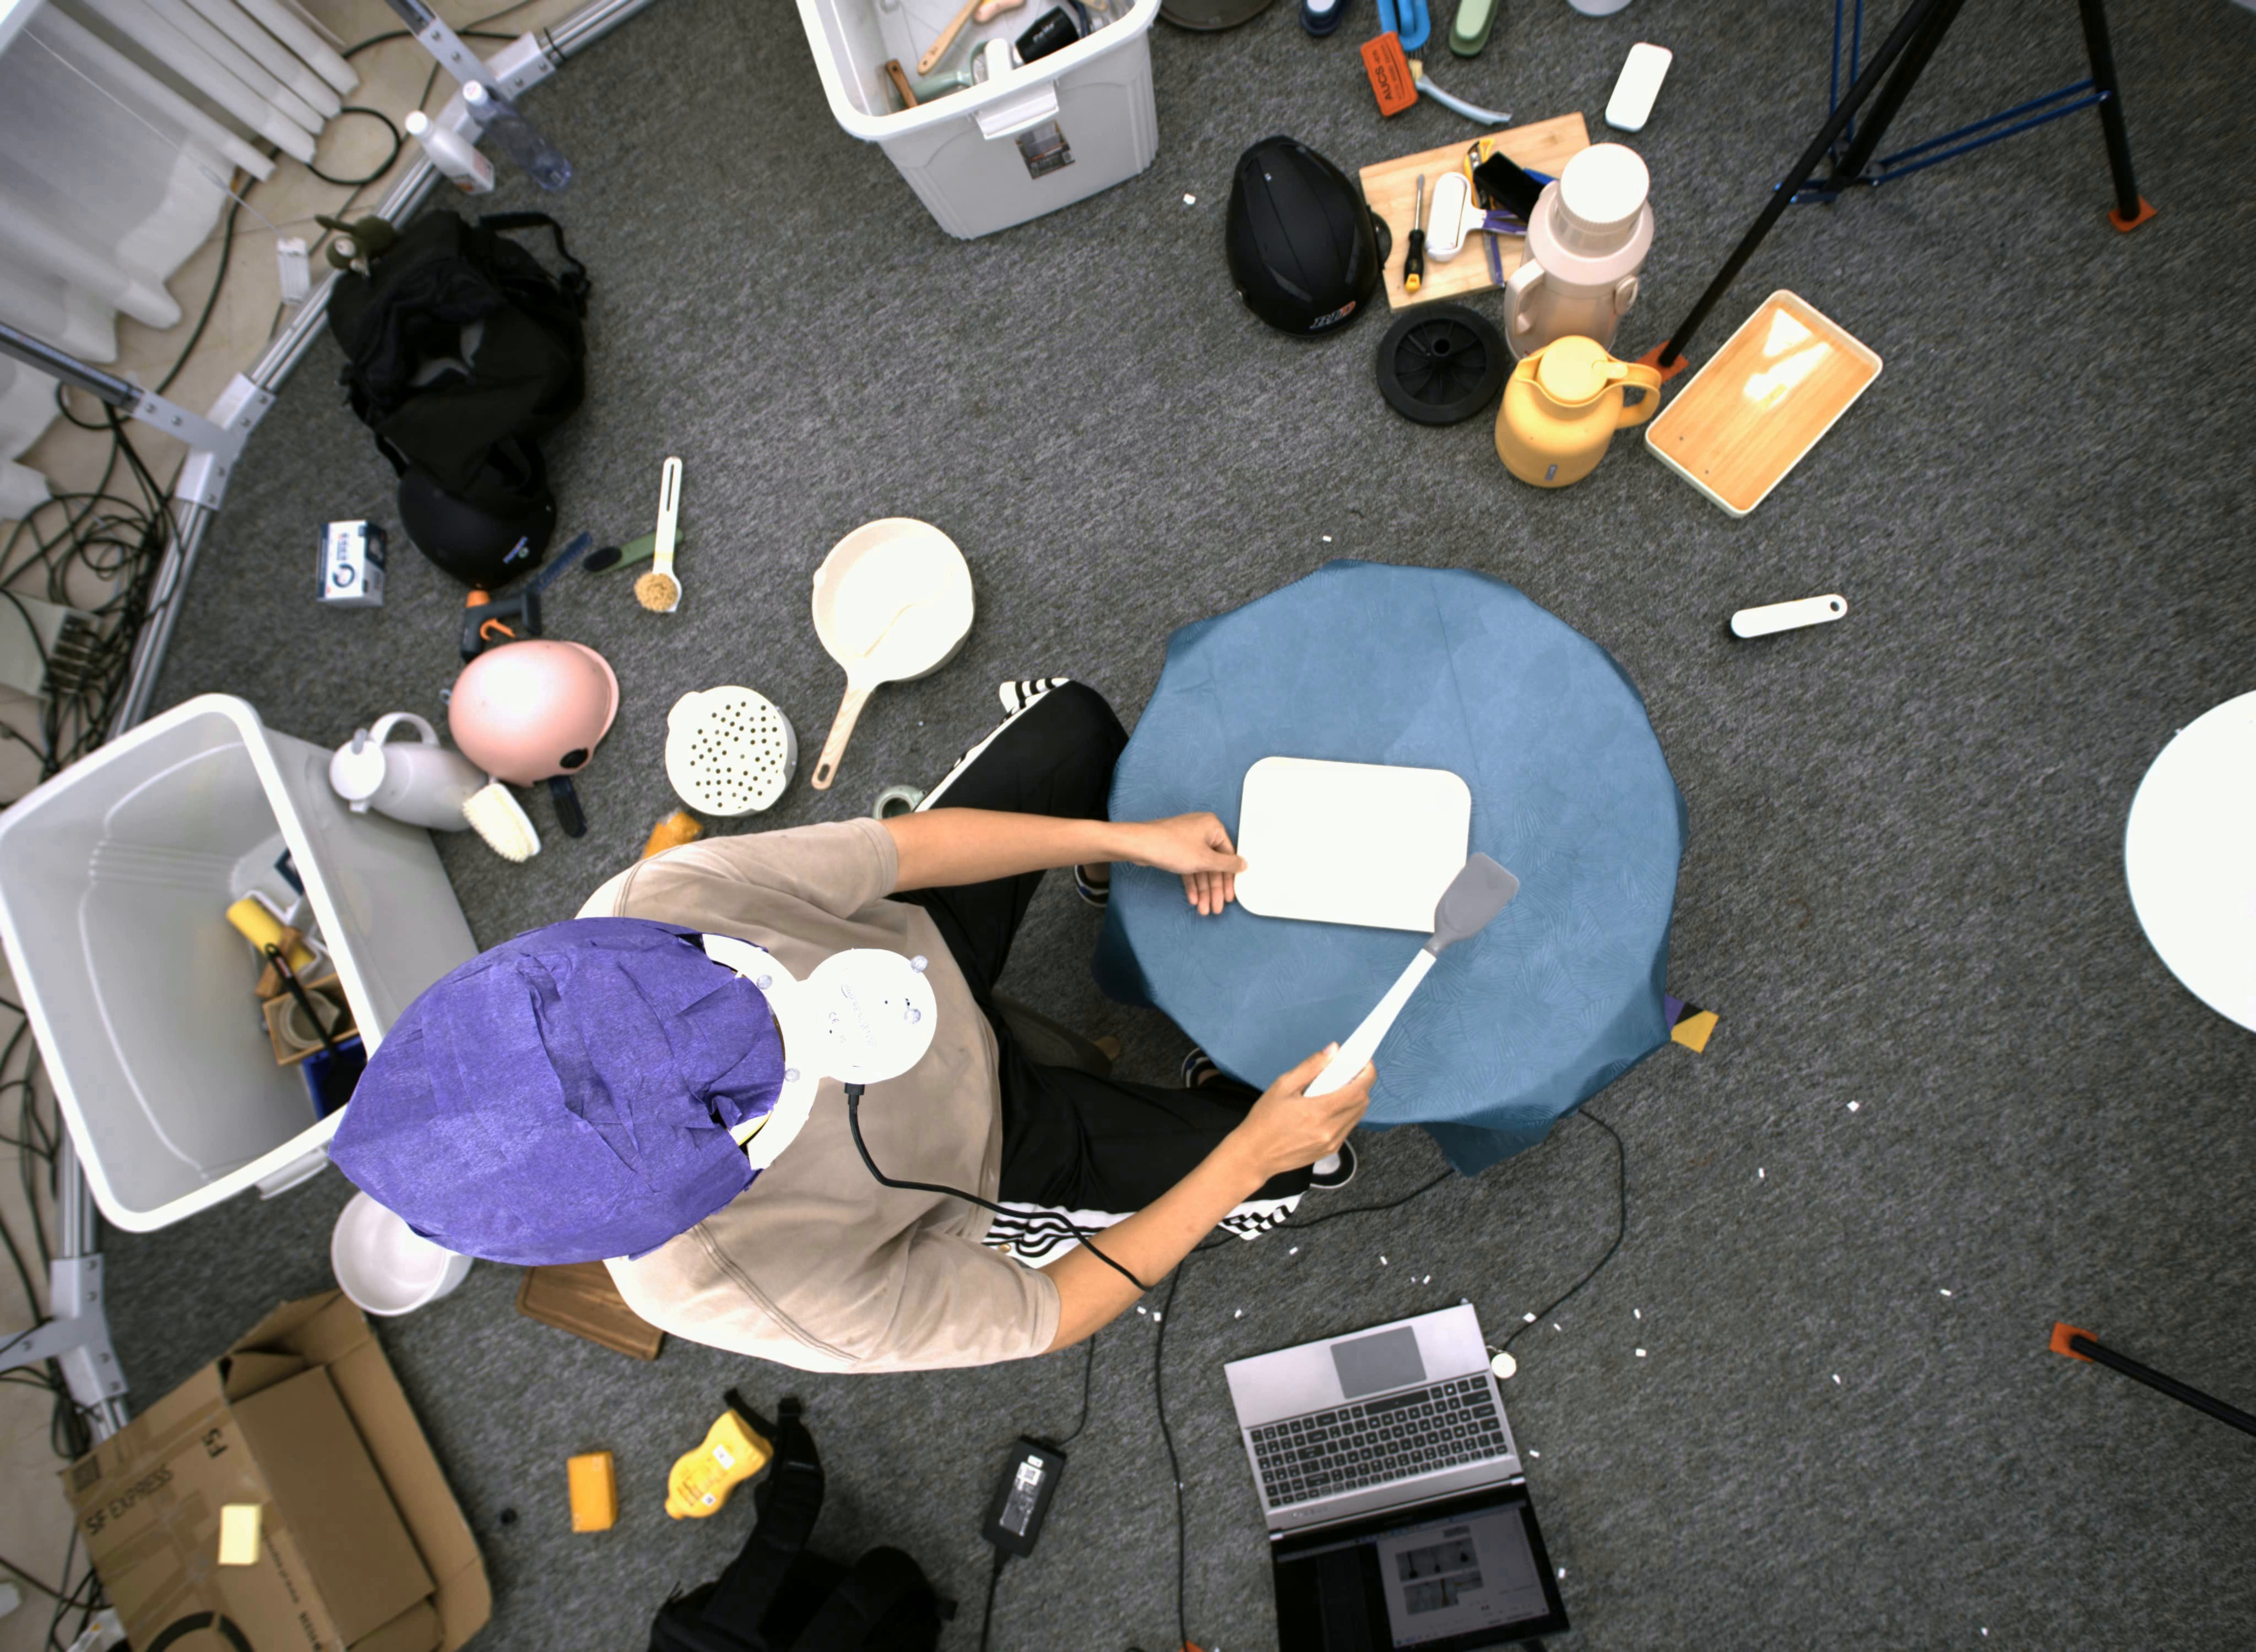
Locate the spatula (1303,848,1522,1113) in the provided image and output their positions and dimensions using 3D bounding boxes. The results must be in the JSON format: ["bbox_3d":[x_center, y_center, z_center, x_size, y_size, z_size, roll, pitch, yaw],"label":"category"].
[{"bbox_3d":[0.263,0.145,1.298,0.058,0.032,0.289,38,96,13],"label":"spatula"}]

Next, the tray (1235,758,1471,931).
[{"bbox_3d":[0.237,0.018,1.461,0.240,0.017,0.170,5,87,11],"label":"tray"}]
